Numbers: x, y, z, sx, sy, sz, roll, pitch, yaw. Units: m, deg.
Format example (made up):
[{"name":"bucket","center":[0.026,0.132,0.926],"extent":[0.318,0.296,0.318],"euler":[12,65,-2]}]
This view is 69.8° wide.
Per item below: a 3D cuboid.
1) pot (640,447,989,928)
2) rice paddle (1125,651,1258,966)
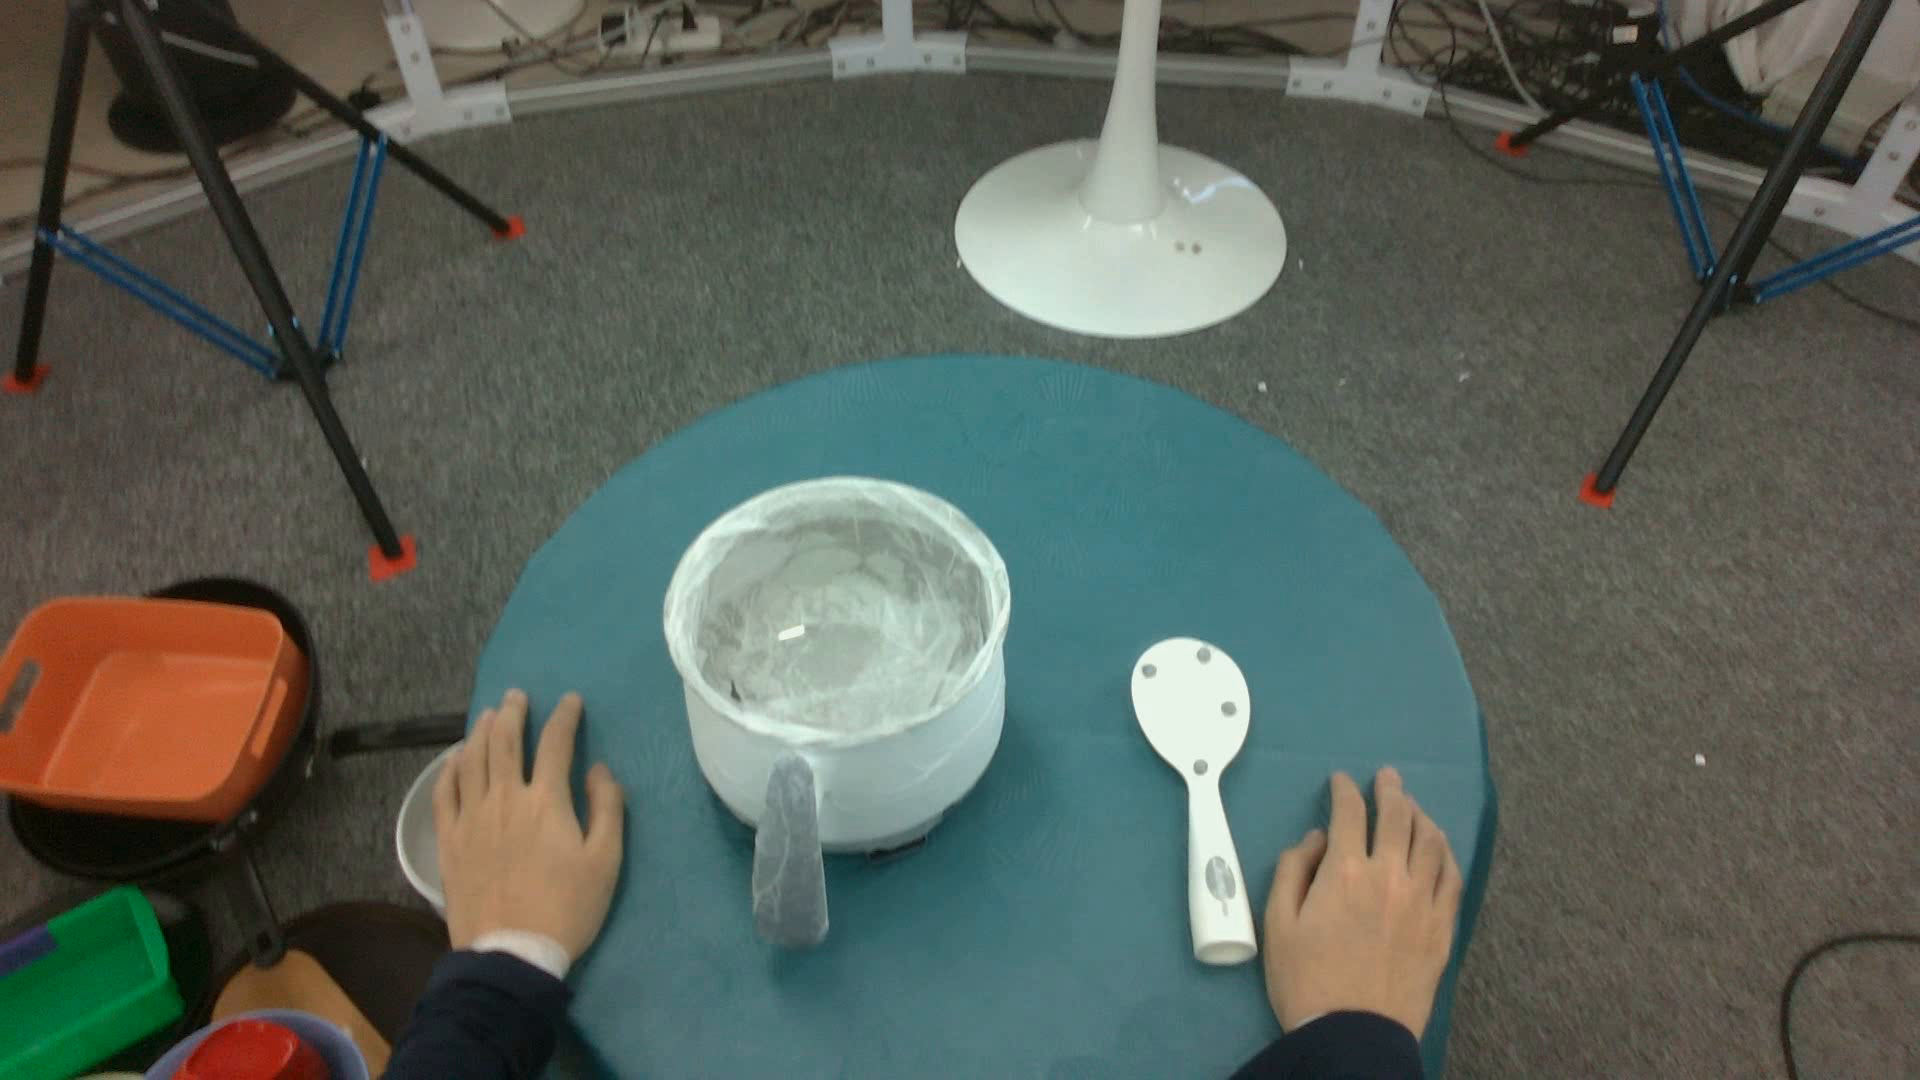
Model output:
[{"name":"pot","center":[-0.076,0.078,0.730],"extent":[0.178,0.136,0.235],"euler":[5,50,5]},{"name":"rice paddle","center":[0.132,0.137,0.766],"extent":[0.069,0.029,0.206],"euler":[-4,44,3]}]
